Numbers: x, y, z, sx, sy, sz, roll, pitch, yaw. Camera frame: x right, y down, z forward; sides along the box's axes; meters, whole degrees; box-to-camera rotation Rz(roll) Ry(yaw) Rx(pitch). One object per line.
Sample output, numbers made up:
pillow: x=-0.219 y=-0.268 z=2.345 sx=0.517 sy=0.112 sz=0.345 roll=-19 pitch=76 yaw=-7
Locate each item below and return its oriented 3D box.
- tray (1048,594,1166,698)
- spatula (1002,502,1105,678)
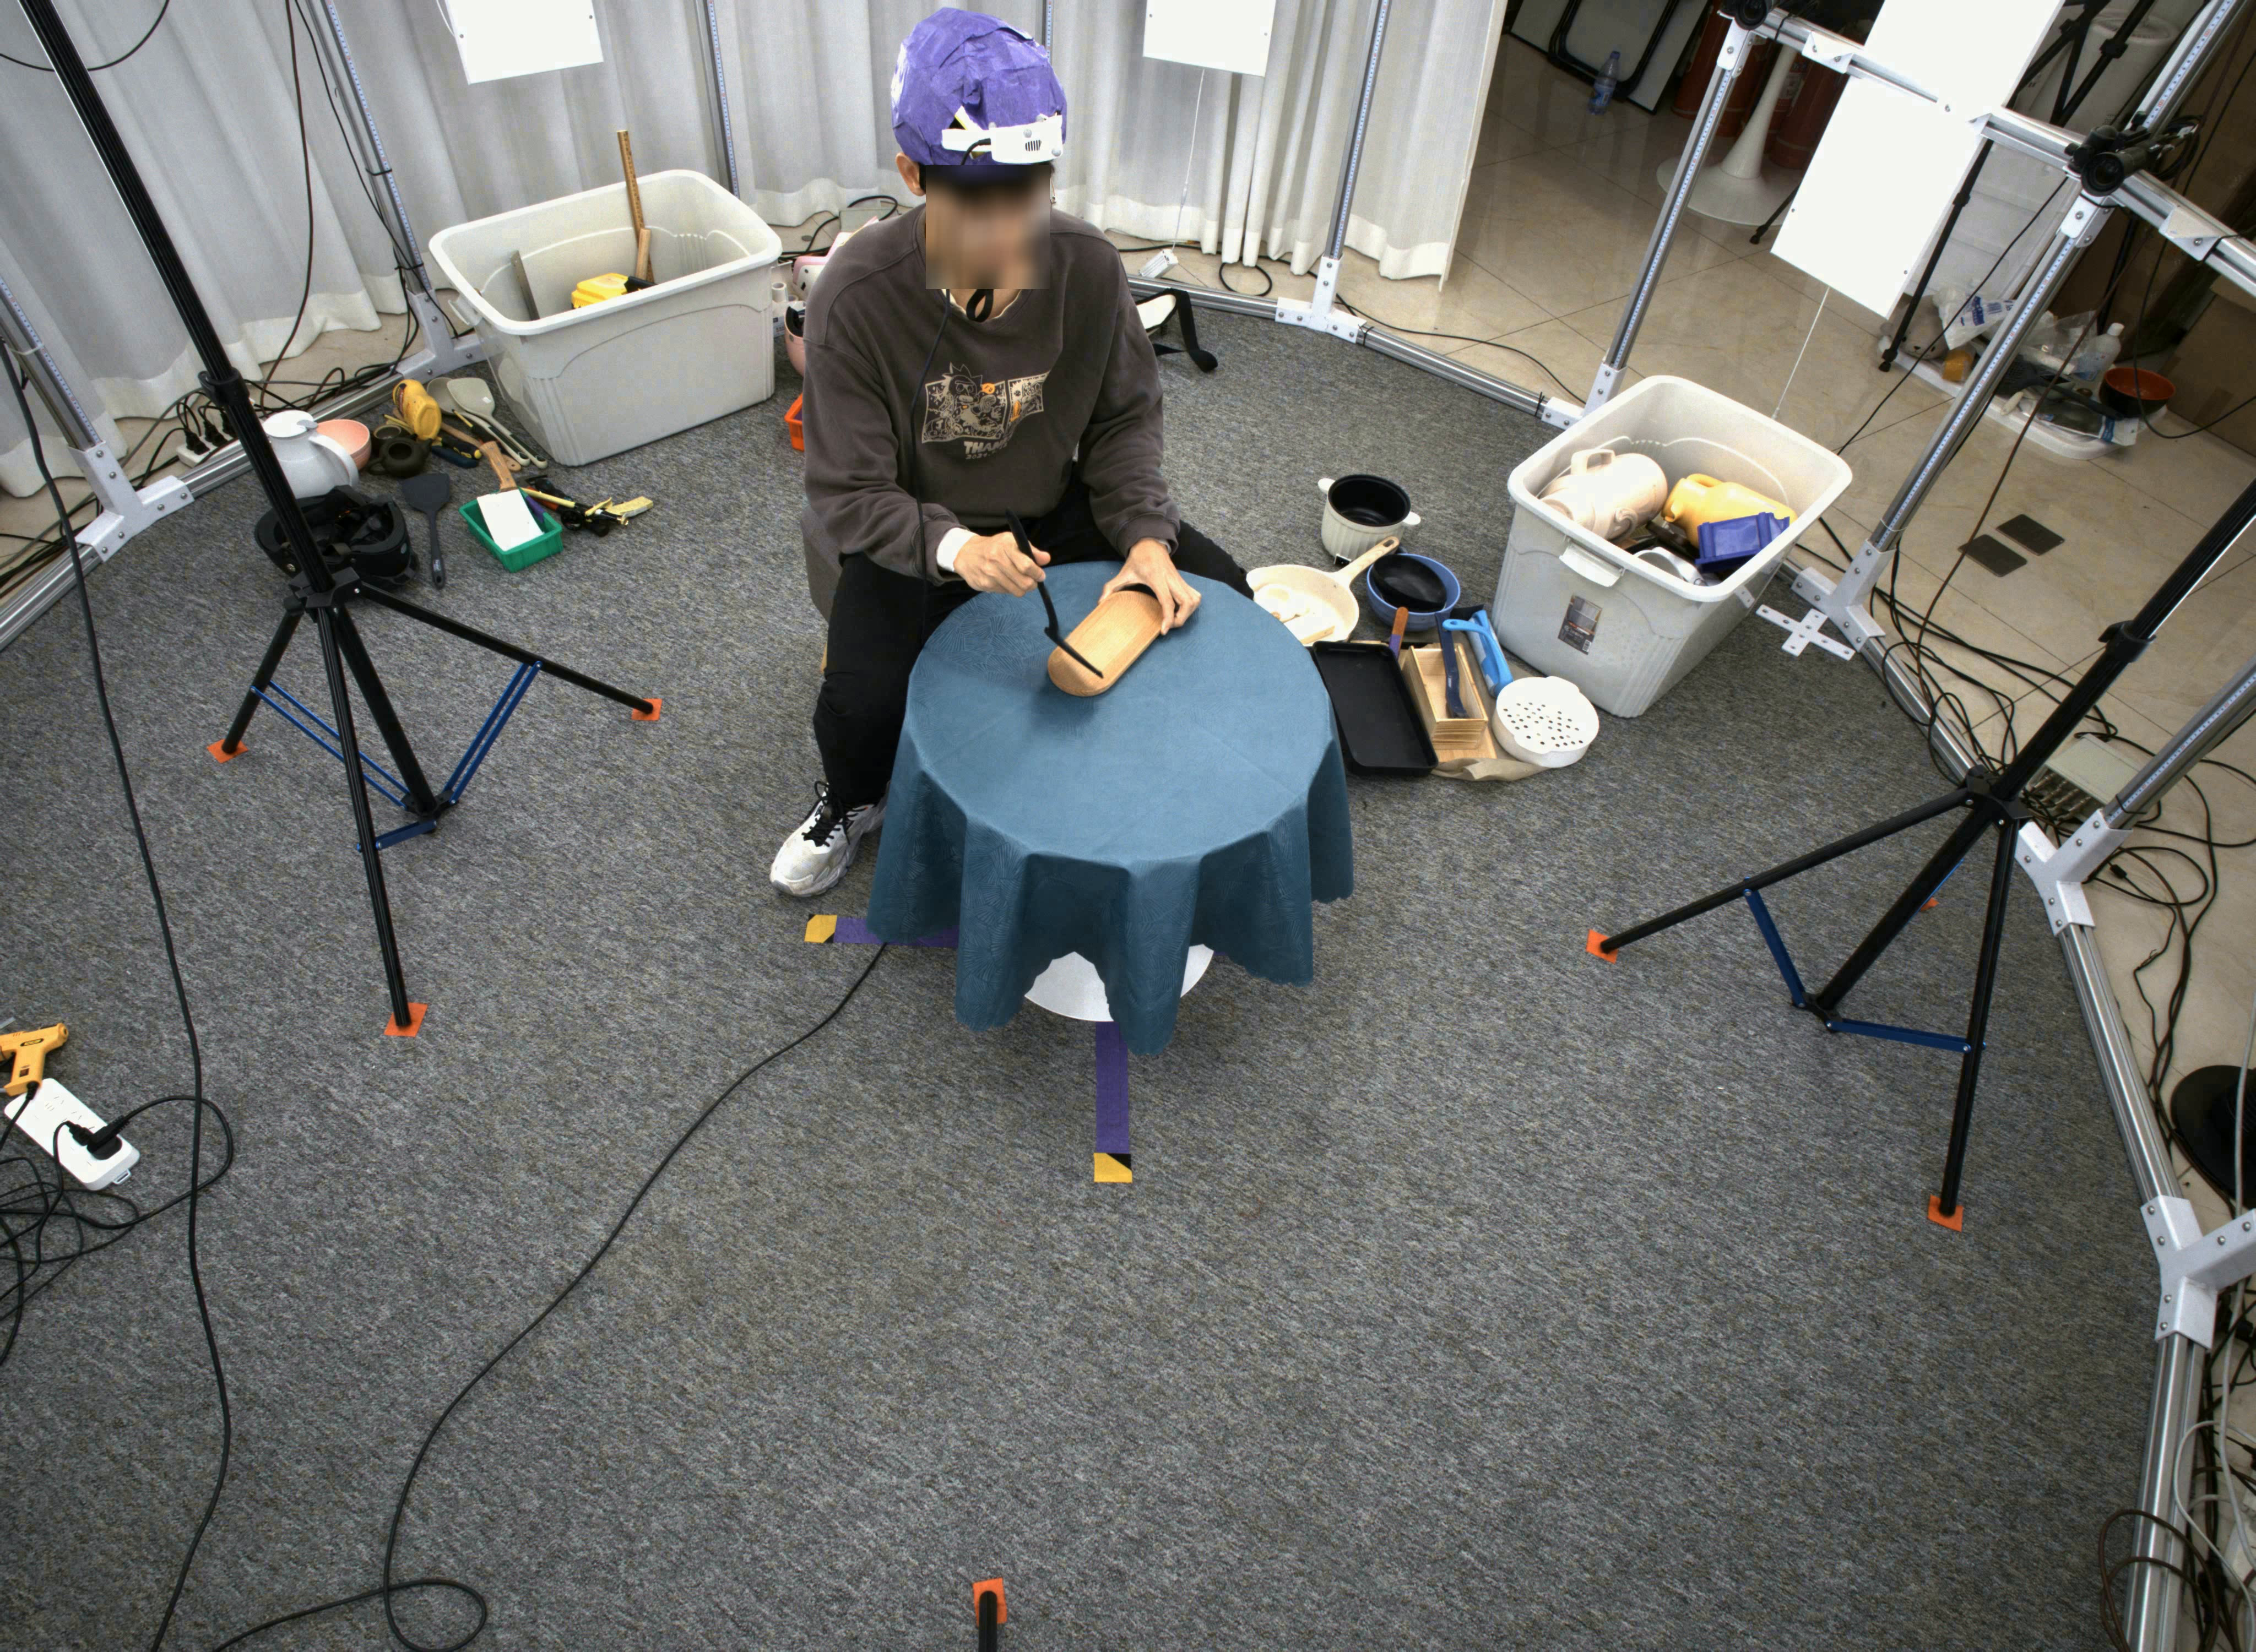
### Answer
tray: x=-0.029 y=-0.266 z=1.882 sx=0.102 sy=0.020 sz=0.234 roll=28 pitch=55 yaw=18
spatula: x=-0.105 y=-0.310 z=1.696 sx=0.040 sy=0.318 sz=0.101 roll=-39 pitch=55 yaw=-14
